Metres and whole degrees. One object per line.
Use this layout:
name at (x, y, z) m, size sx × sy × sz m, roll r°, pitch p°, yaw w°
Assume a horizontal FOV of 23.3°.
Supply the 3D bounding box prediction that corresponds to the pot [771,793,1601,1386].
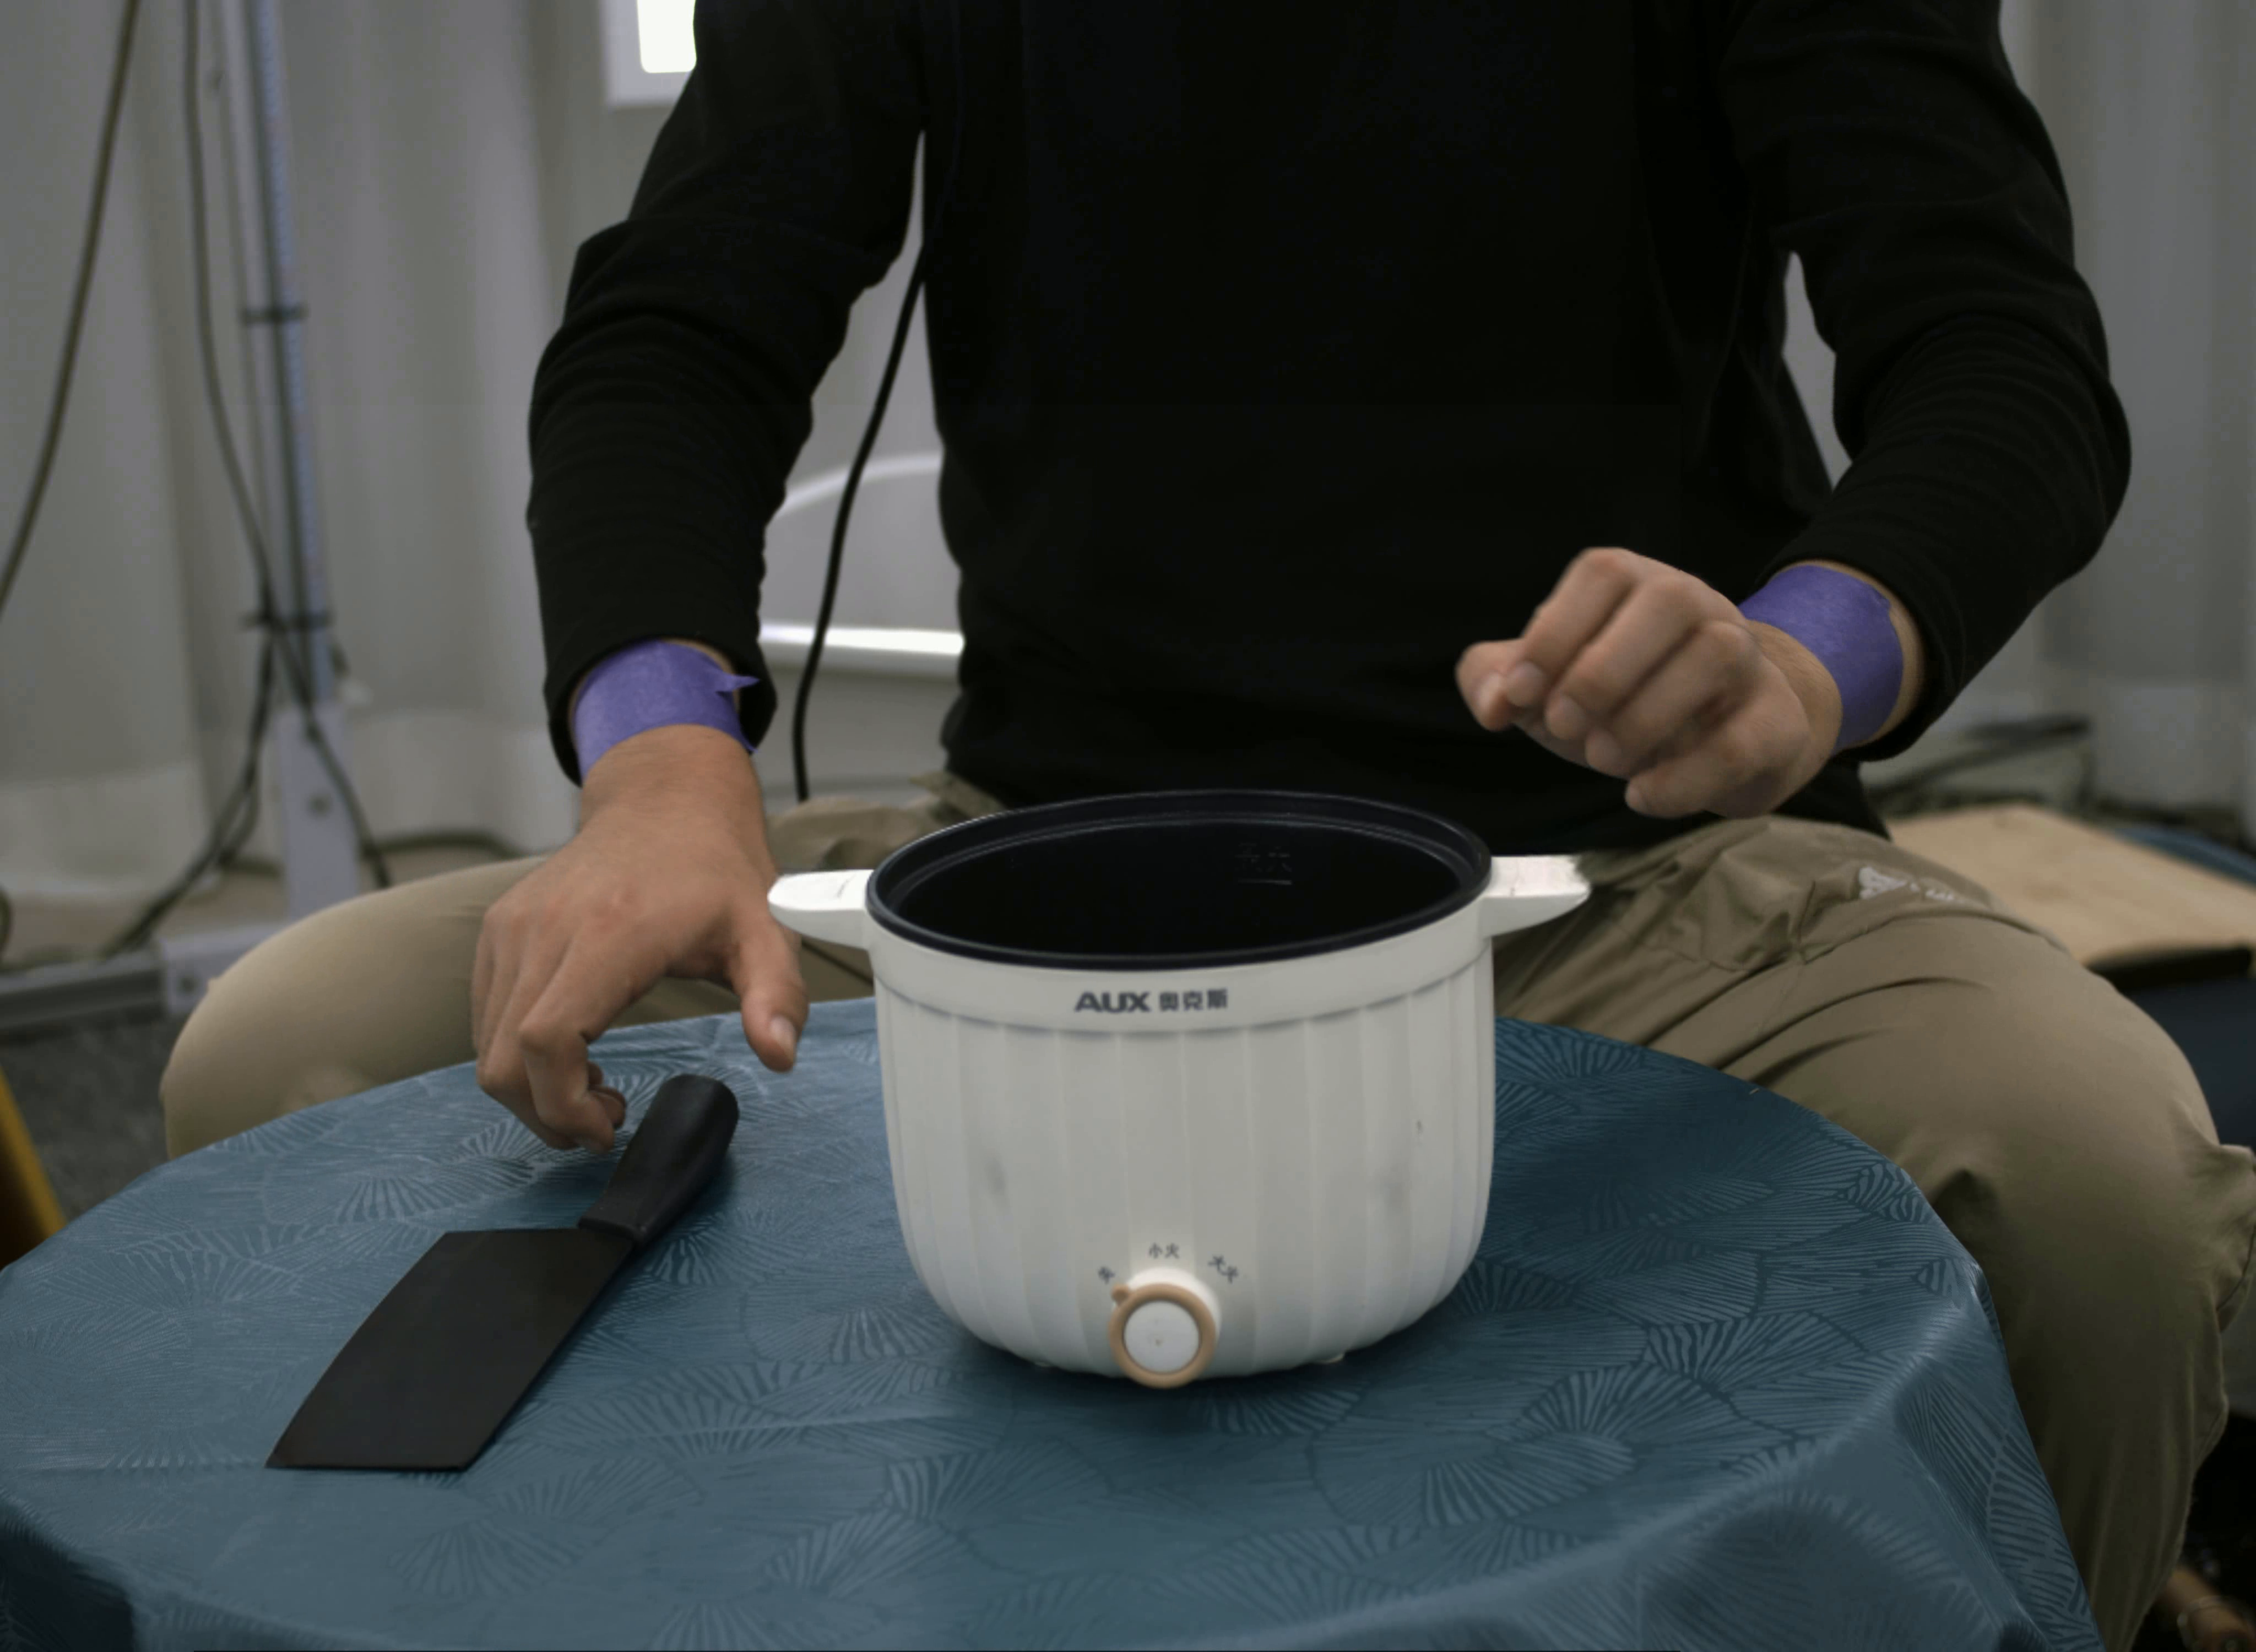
pot at (0.019, 0.078, 1.582) m, size 0.240 × 0.142 × 0.191 m, roll -2°, pitch 11°, yaw 6°

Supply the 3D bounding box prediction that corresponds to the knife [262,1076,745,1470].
knife at (-0.180, 0.134, 1.652) m, size 0.081 × 0.021 × 0.304 m, roll 1°, pitch 17°, yaw 17°
